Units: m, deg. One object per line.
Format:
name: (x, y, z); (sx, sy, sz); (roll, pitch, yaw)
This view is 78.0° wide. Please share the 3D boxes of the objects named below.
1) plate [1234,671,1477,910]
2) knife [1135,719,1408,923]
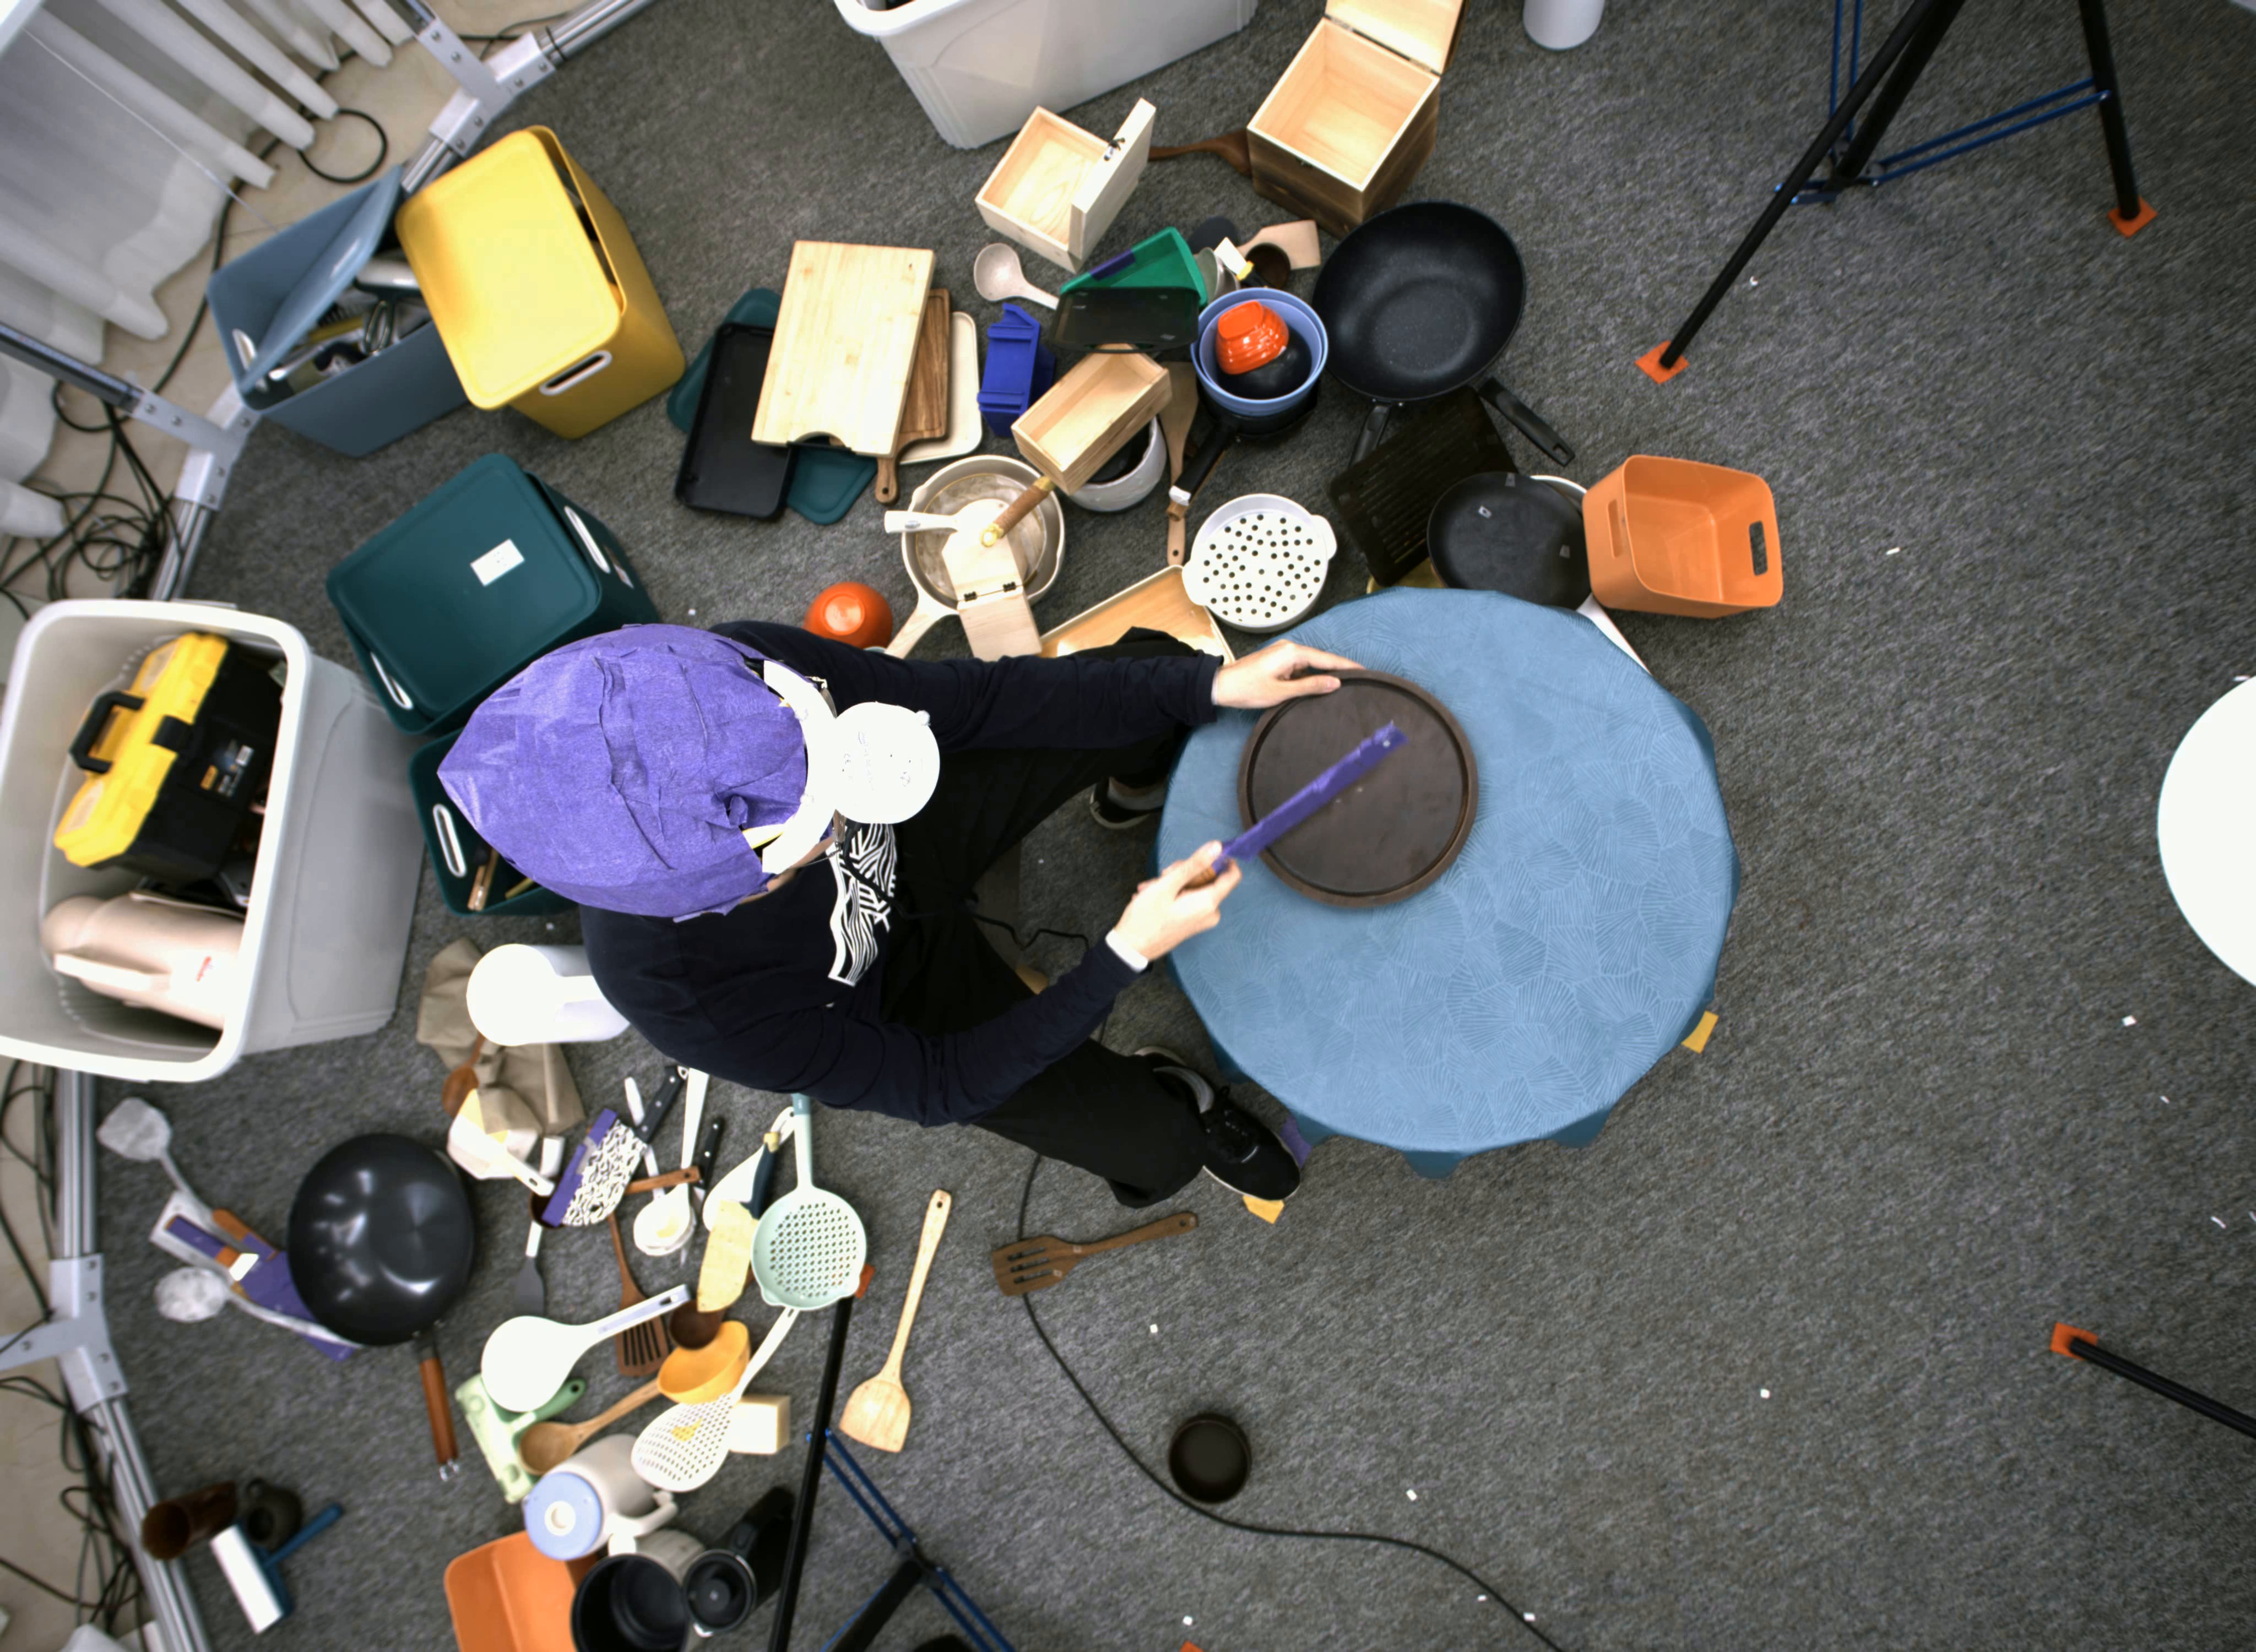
plate: (0.238, -0.038, 1.451); (0.255, 0.029, 0.254); (0, 90, 6)
knife: (0.148, -0.002, 1.374); (0.319, 0.104, 0.032); (-36, 72, 15)
